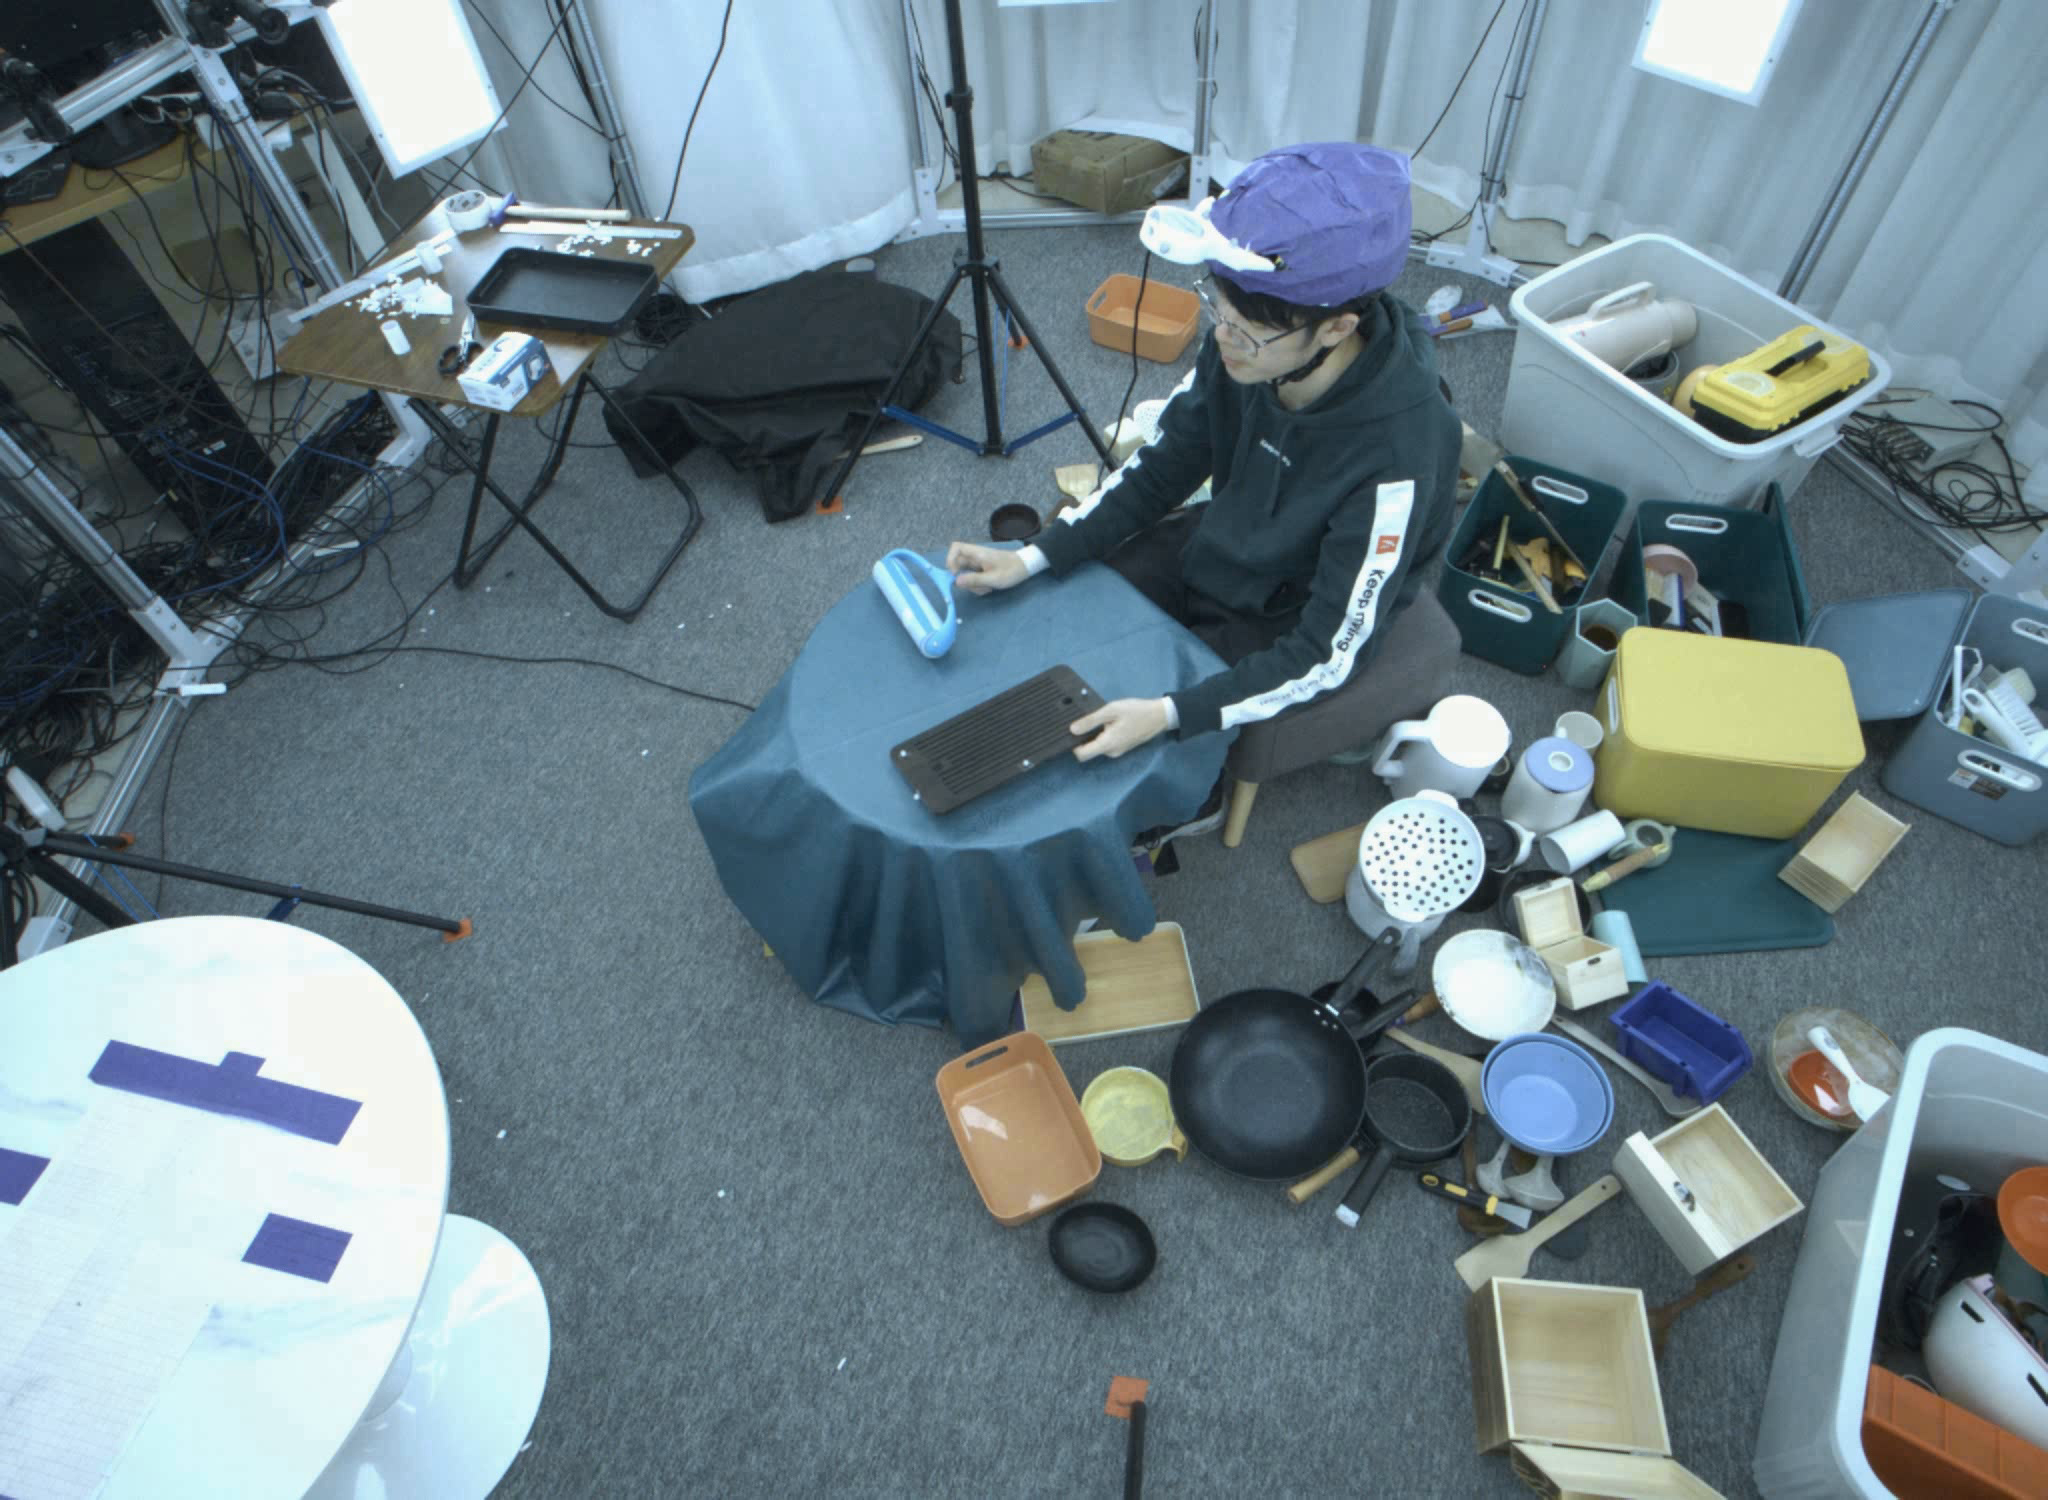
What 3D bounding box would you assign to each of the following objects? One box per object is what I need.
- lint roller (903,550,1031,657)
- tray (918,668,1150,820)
[{"bbox_3d":[-0.076,-0.250,1.923,0.181,0.069,0.224,-25,53,-15],"label":"lint roller"},{"bbox_3d":[0.014,-0.011,1.758,0.308,0.019,0.166,-26,45,-16],"label":"tray"}]
